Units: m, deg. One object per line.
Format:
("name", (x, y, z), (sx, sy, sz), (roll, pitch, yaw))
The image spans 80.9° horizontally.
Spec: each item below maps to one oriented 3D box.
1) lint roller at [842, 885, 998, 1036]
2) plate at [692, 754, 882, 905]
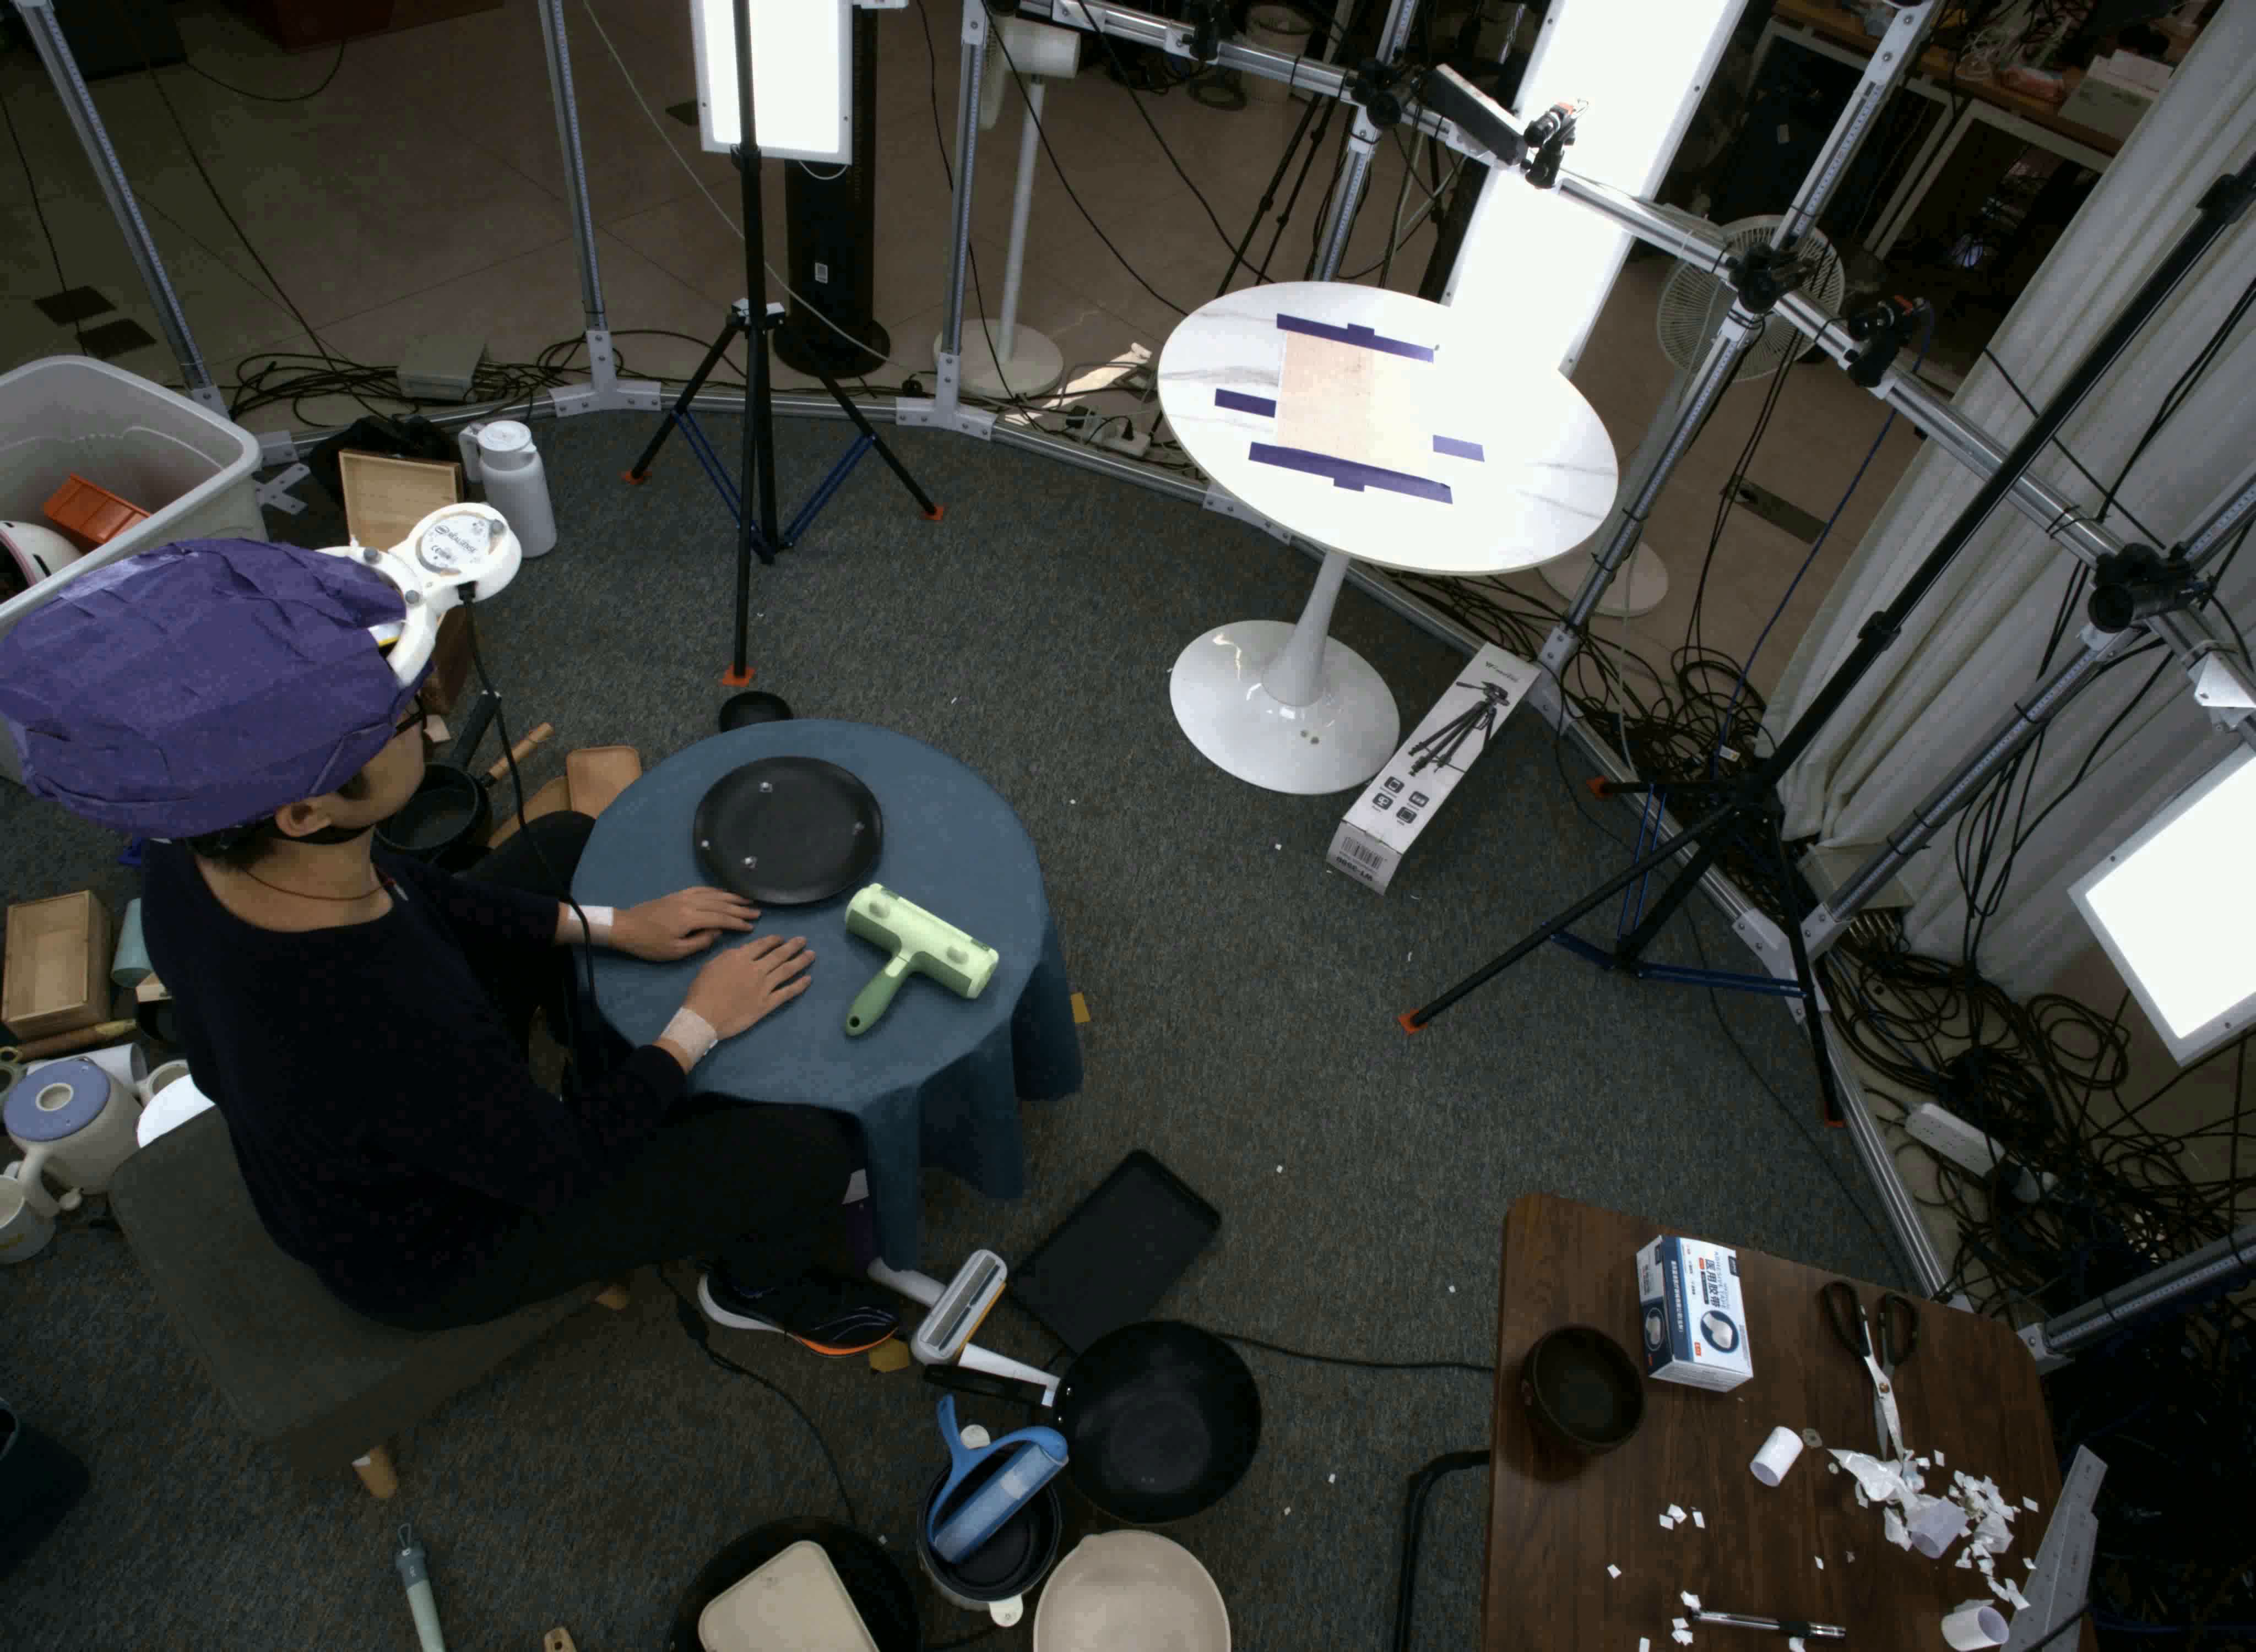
("lint roller", (-0.282, 0.168, 1.570), (0.195, 0.084, 0.182), (28, 45, 8))
("plate", (-0.443, 0.005, 1.690), (0.244, 0.024, 0.240), (8, 52, -9))
